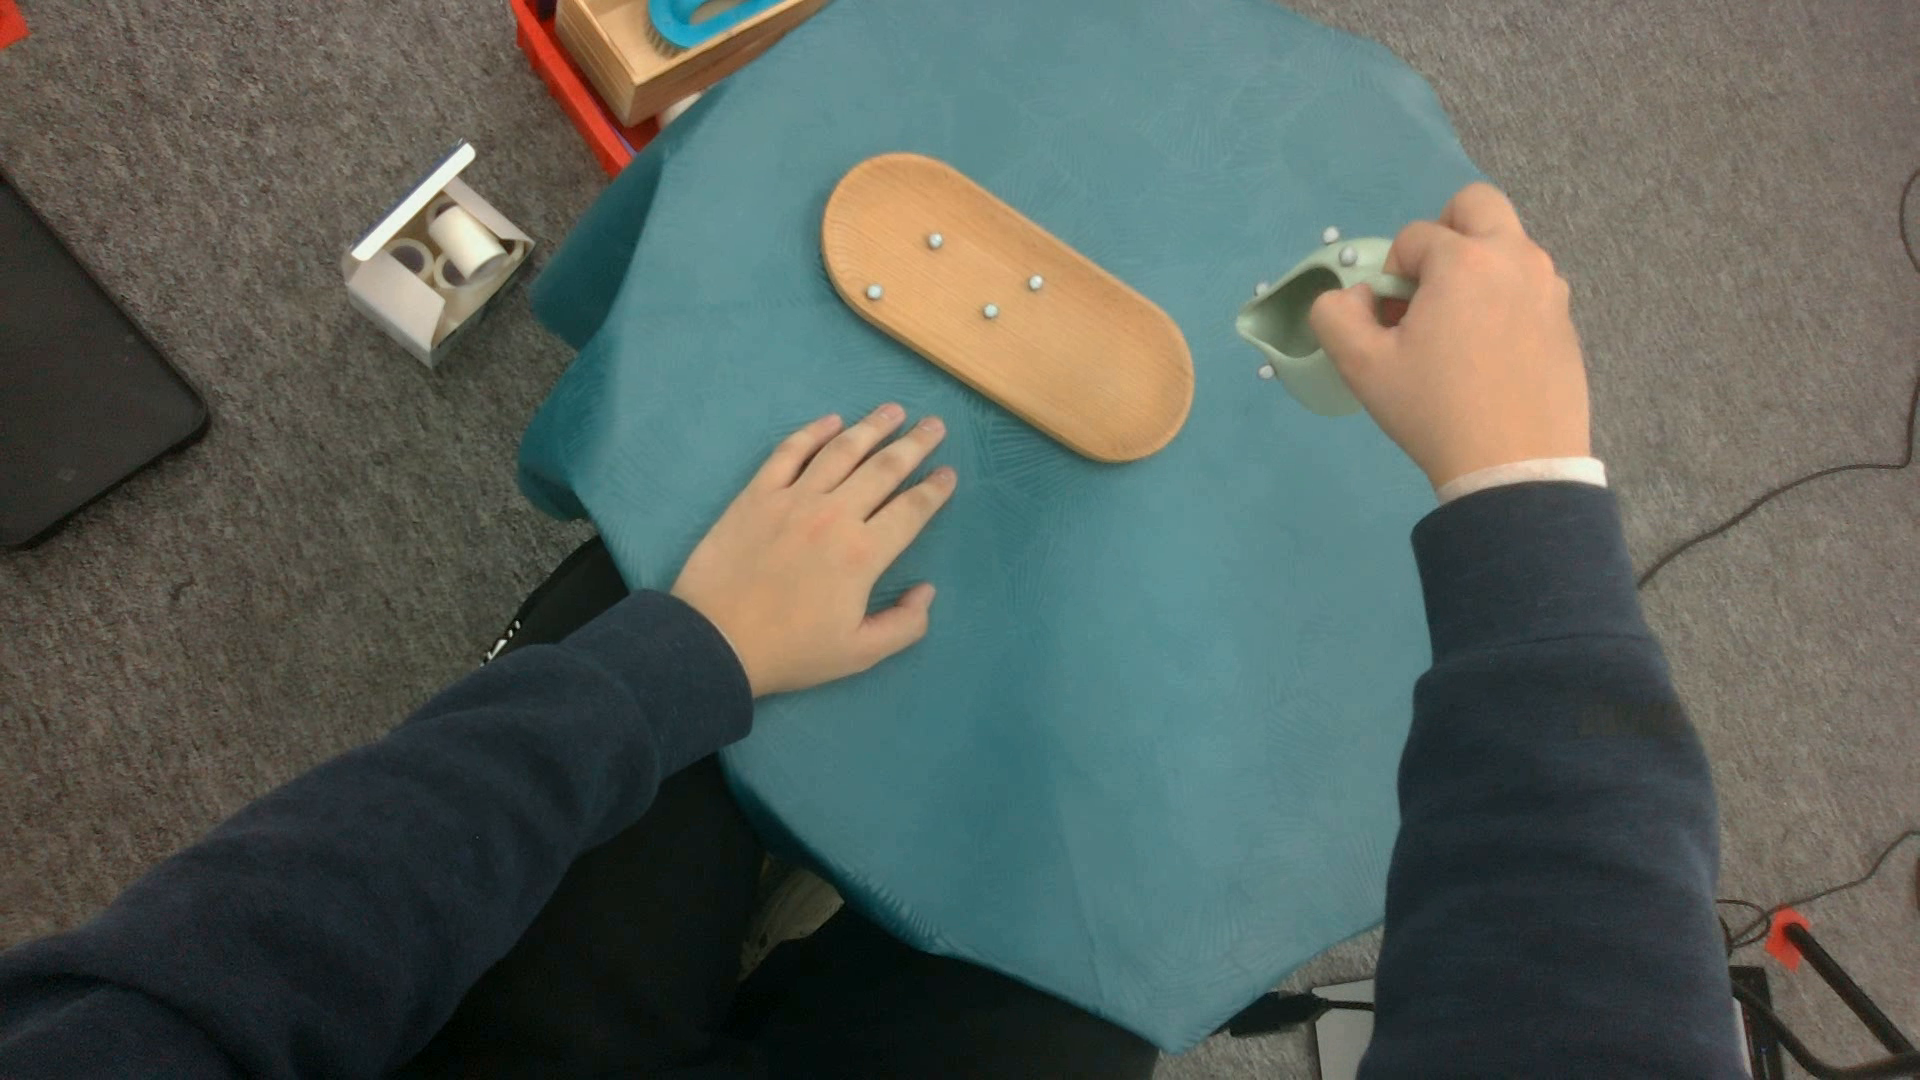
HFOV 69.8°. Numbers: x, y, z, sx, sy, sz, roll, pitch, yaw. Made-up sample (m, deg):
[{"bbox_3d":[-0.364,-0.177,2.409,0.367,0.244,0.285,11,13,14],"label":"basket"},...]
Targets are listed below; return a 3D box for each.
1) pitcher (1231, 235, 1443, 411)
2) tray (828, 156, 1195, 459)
[{"bbox_3d":[0.185,-0.107,0.651,0.060,0.107,0.086,12,80,-31],"label":"pitcher"},{"bbox_3d":[0.031,-0.128,0.769,0.231,0.020,0.102,31,73,-14],"label":"tray"}]
